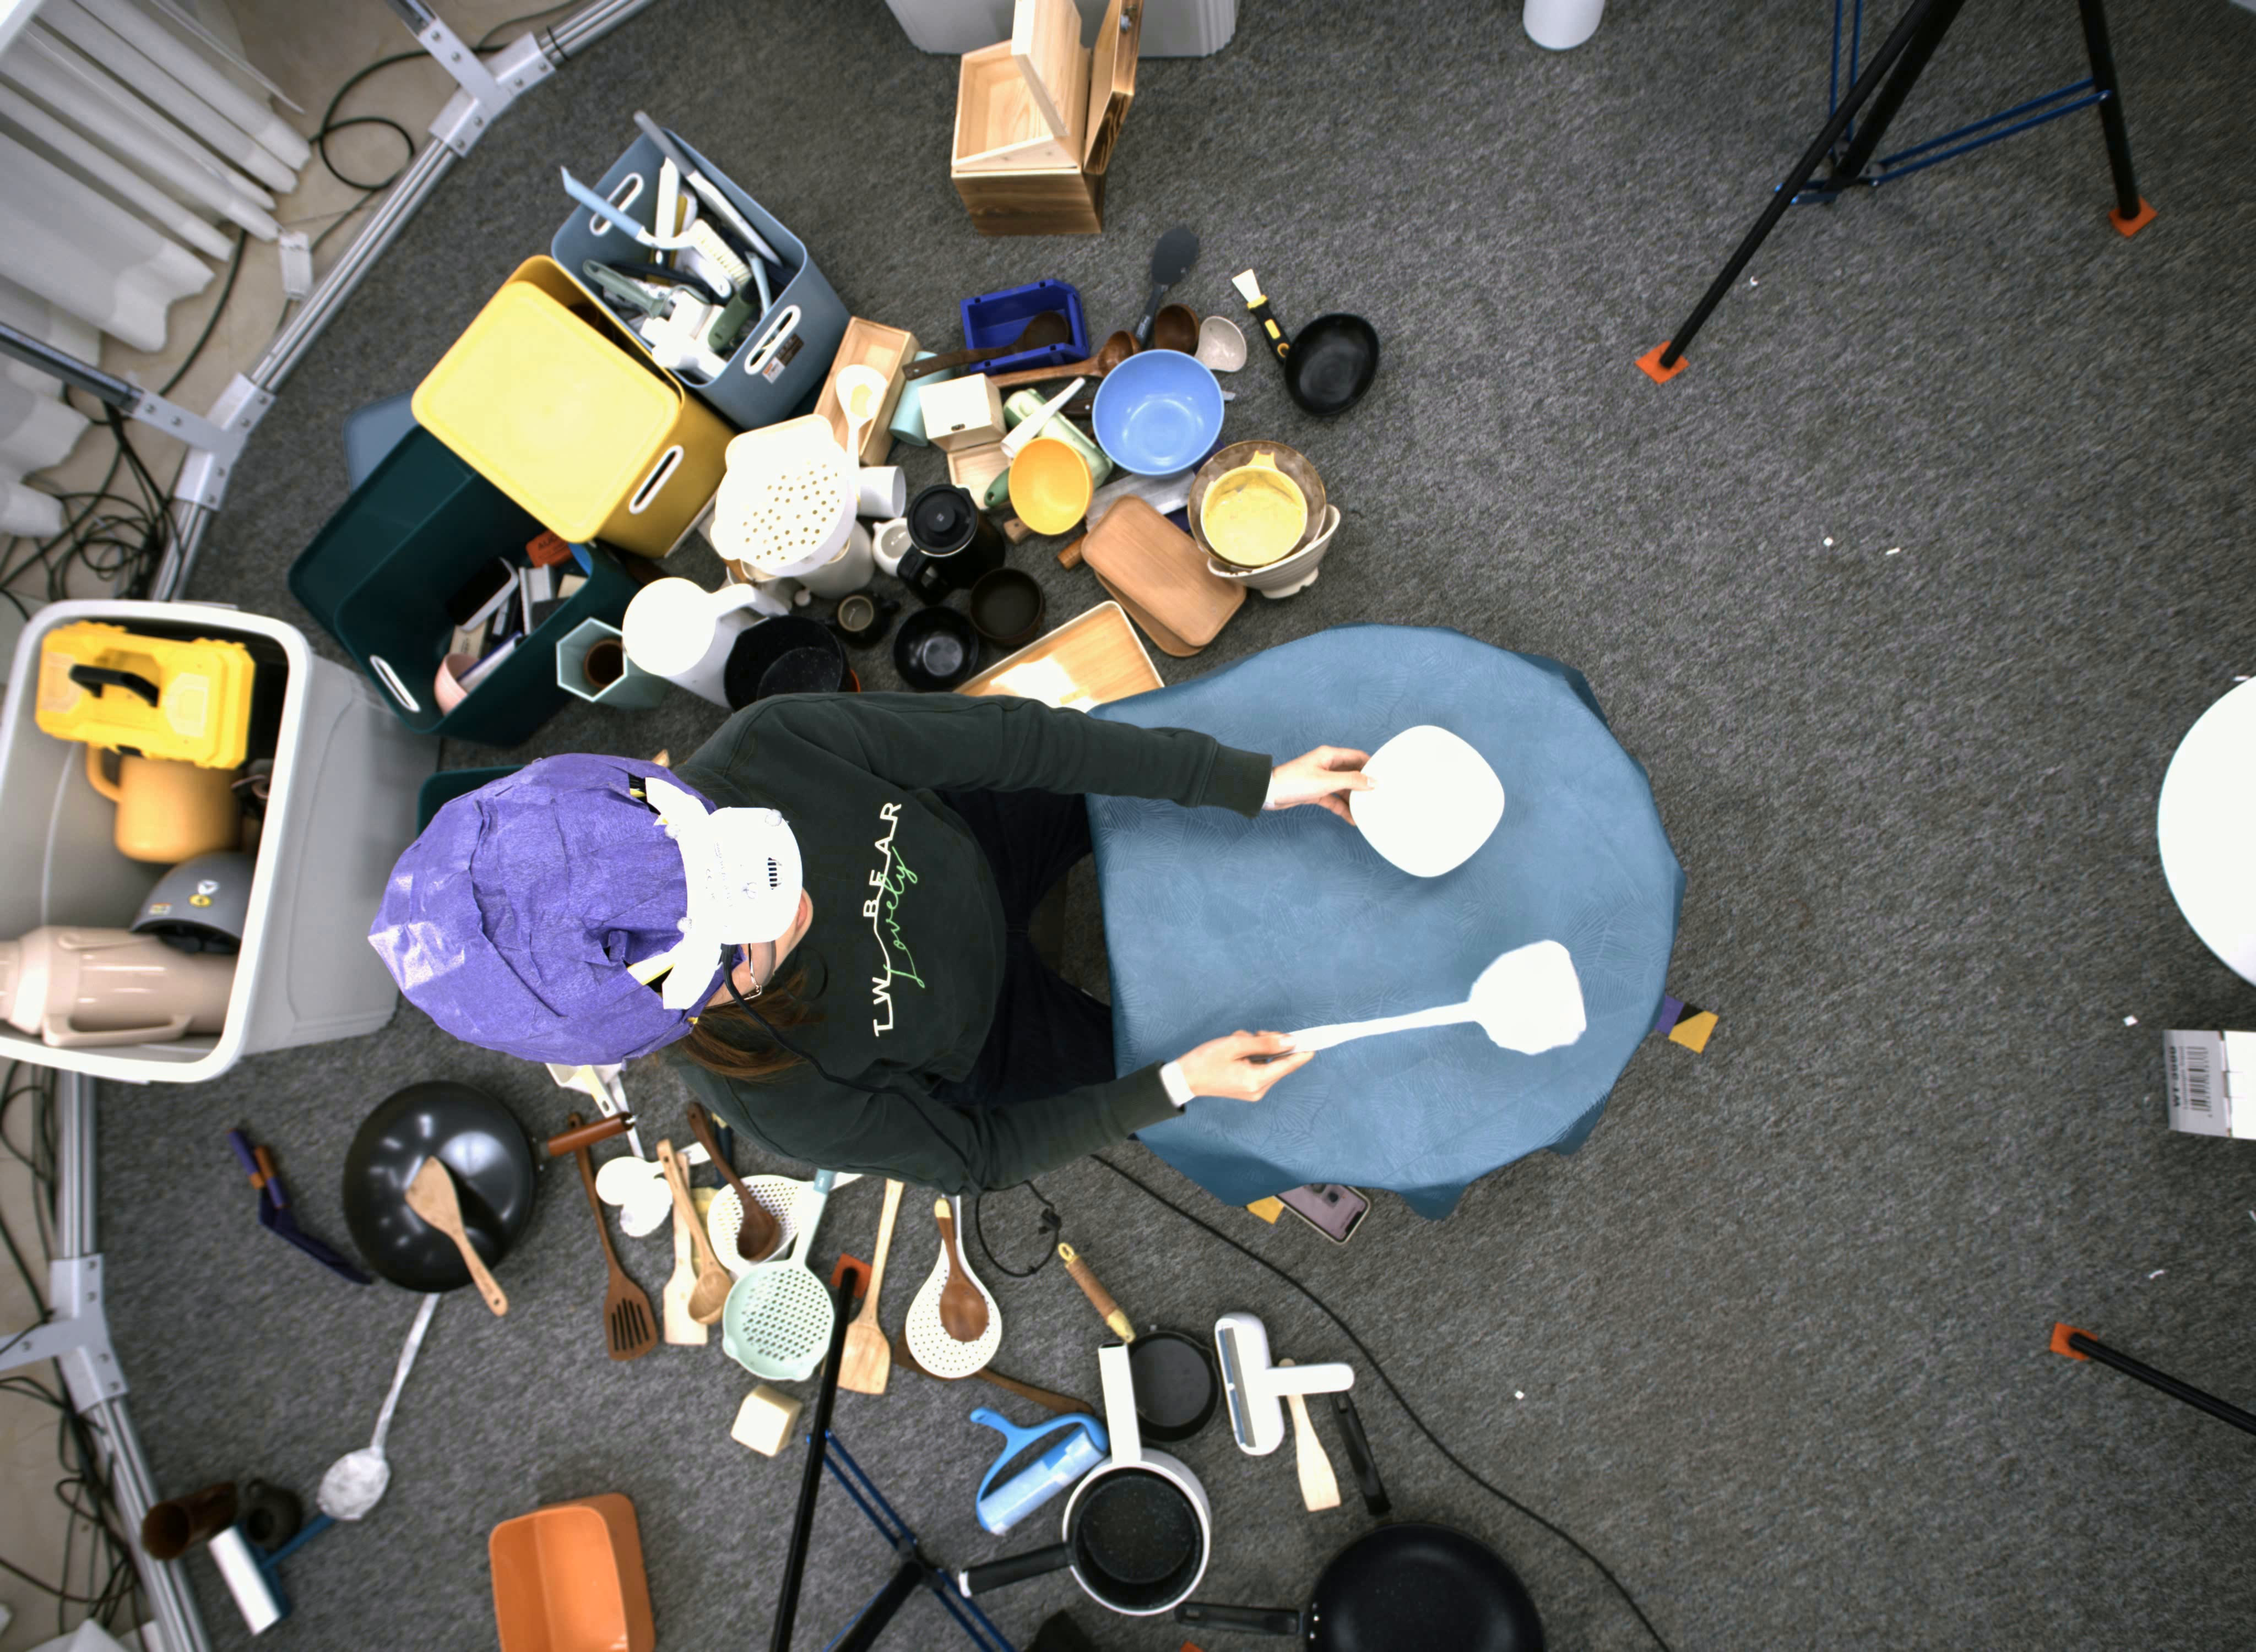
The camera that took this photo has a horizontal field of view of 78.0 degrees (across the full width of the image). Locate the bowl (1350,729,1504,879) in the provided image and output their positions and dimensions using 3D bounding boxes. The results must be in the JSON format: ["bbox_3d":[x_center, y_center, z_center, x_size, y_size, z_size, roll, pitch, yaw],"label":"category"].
[{"bbox_3d":[0.303,-0.021,1.398,0.152,0.058,0.151,-1,86,11],"label":"bowl"}]

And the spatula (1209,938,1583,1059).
[{"bbox_3d":[0.249,0.186,1.329,0.367,0.045,0.097,-13,77,15],"label":"spatula"}]
